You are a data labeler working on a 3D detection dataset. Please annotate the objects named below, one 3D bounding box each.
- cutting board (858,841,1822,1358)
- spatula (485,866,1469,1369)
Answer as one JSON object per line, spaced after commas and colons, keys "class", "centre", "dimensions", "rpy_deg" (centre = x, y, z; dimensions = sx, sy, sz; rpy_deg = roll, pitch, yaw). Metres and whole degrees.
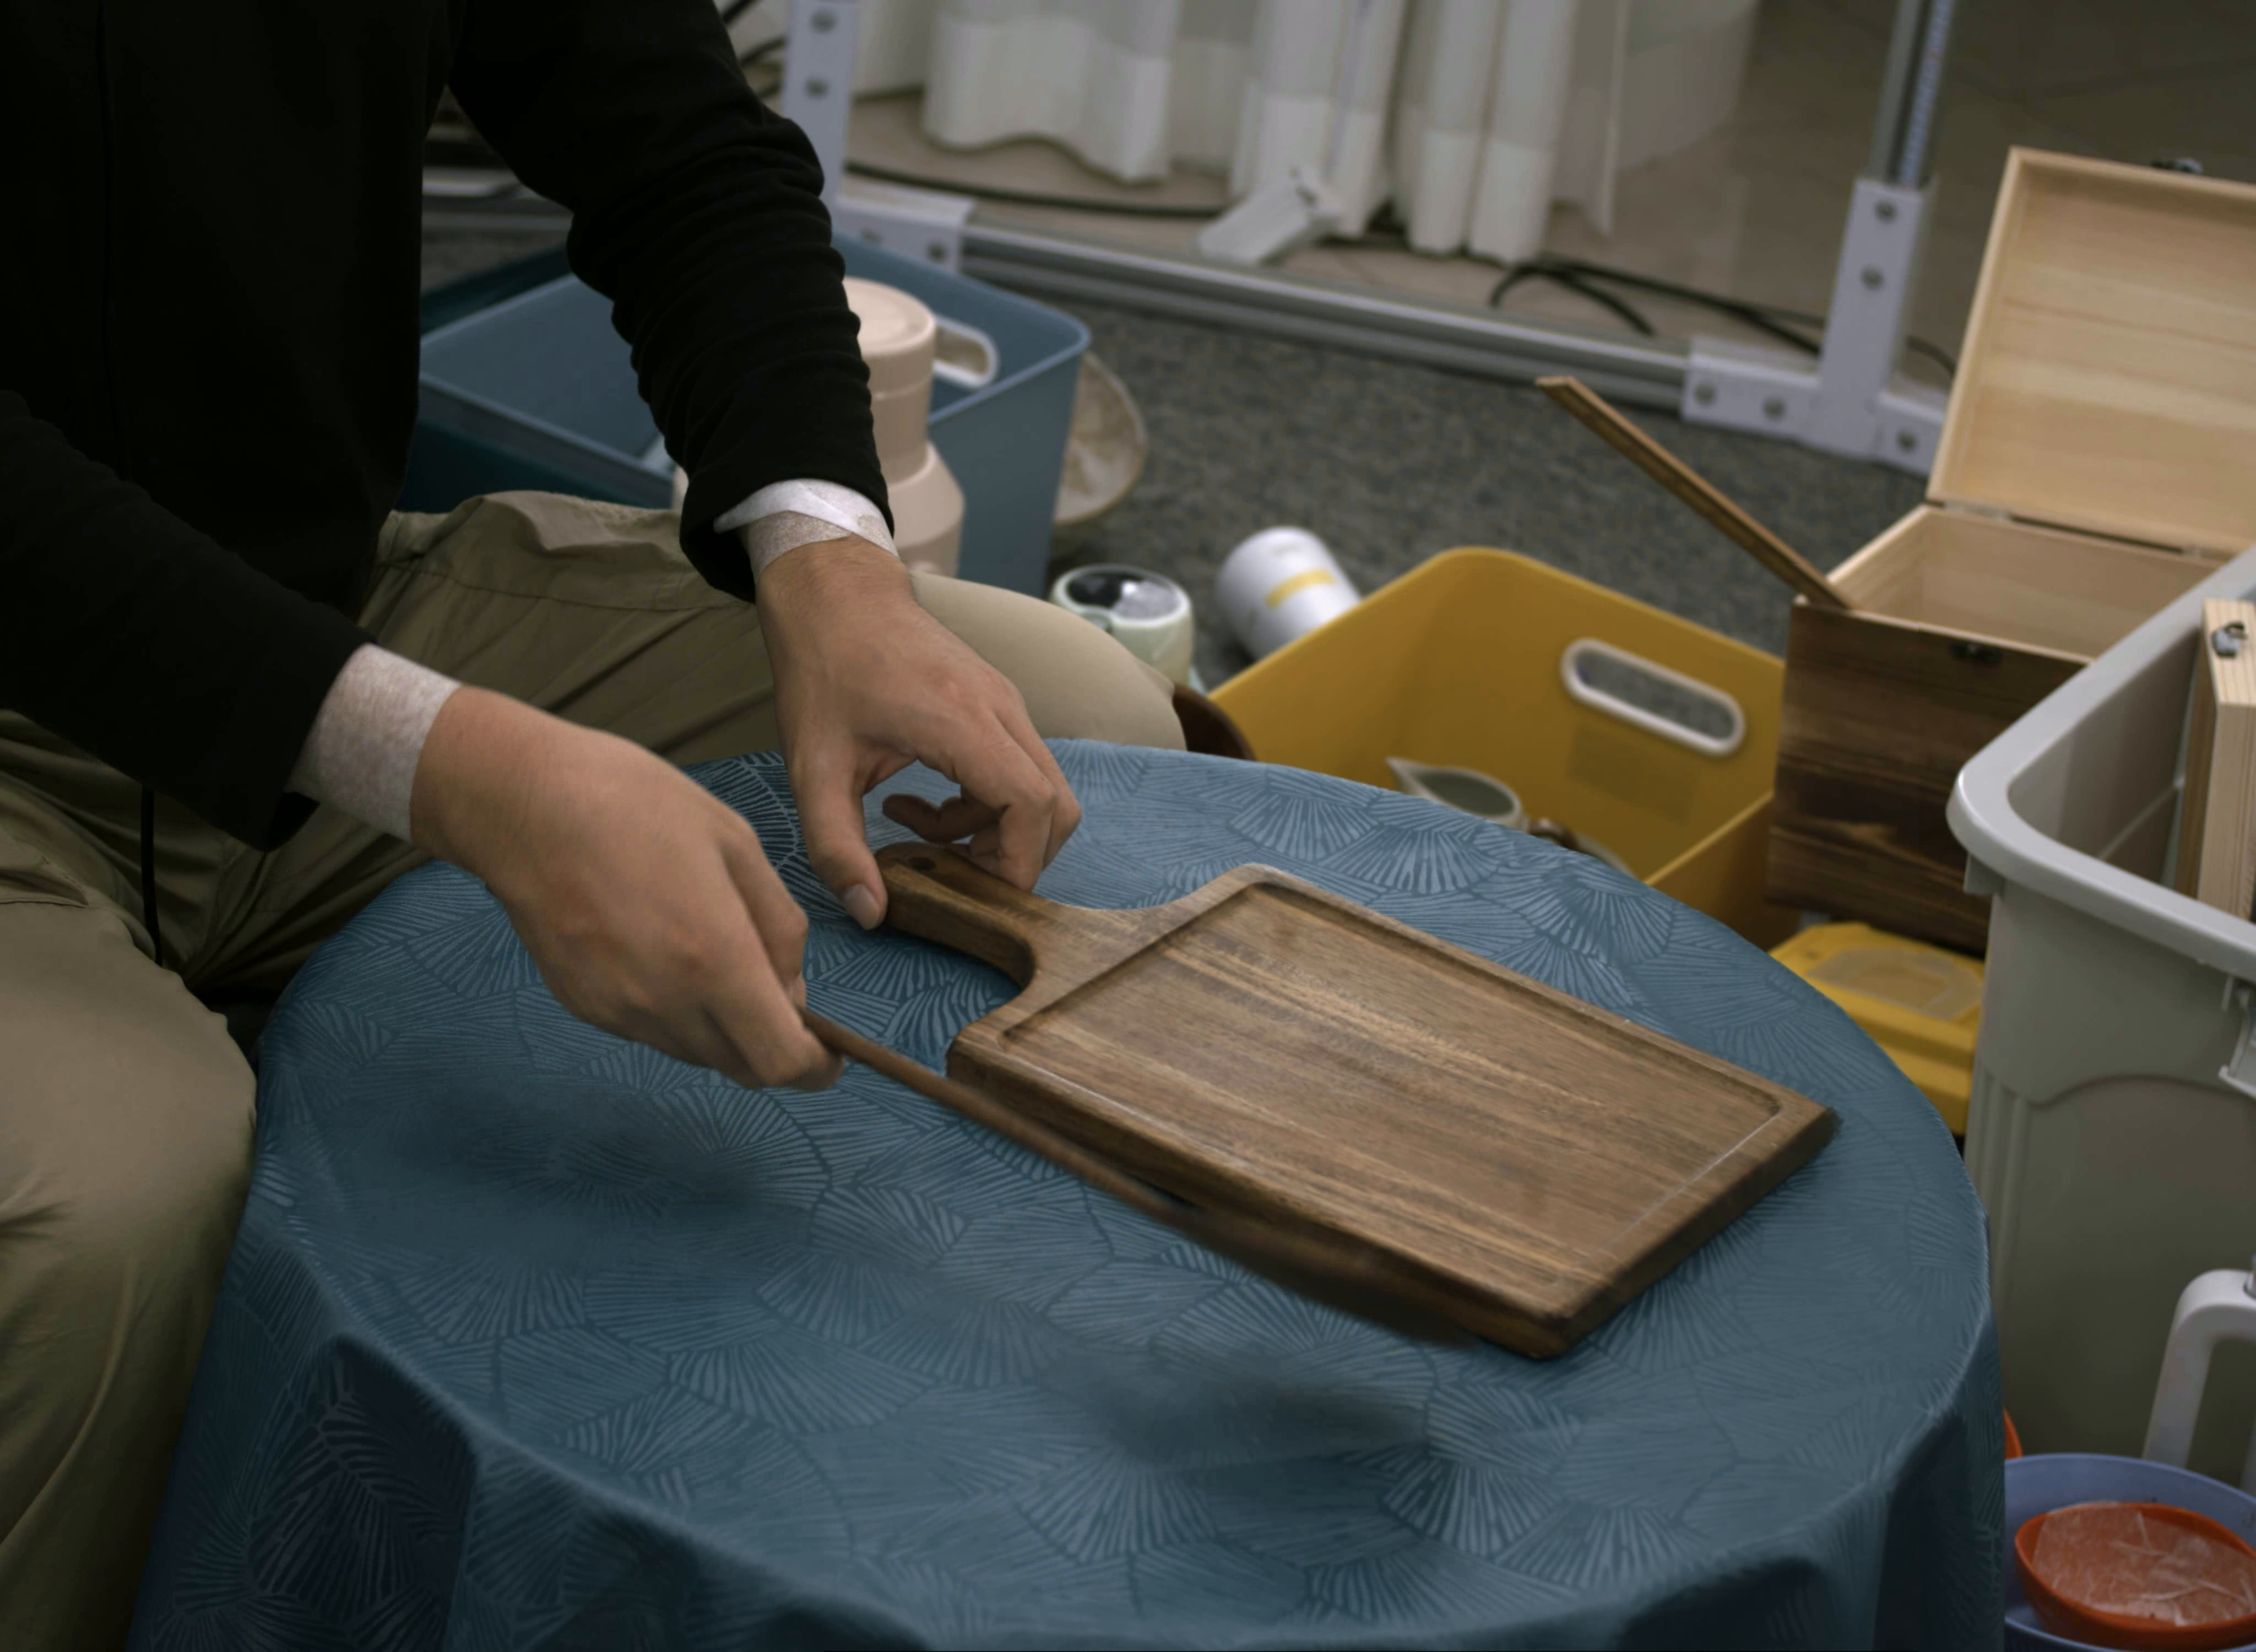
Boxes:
{"class": "cutting board", "centre": [0.050, 0.076, 1.879], "dimensions": [0.354, 0.023, 0.200], "rpy_deg": [23, 31, 28]}
{"class": "spatula", "centre": [-0.057, 0.090, 1.724], "dimensions": [0.388, 0.016, 0.095], "rpy_deg": [25, -7, 26]}
